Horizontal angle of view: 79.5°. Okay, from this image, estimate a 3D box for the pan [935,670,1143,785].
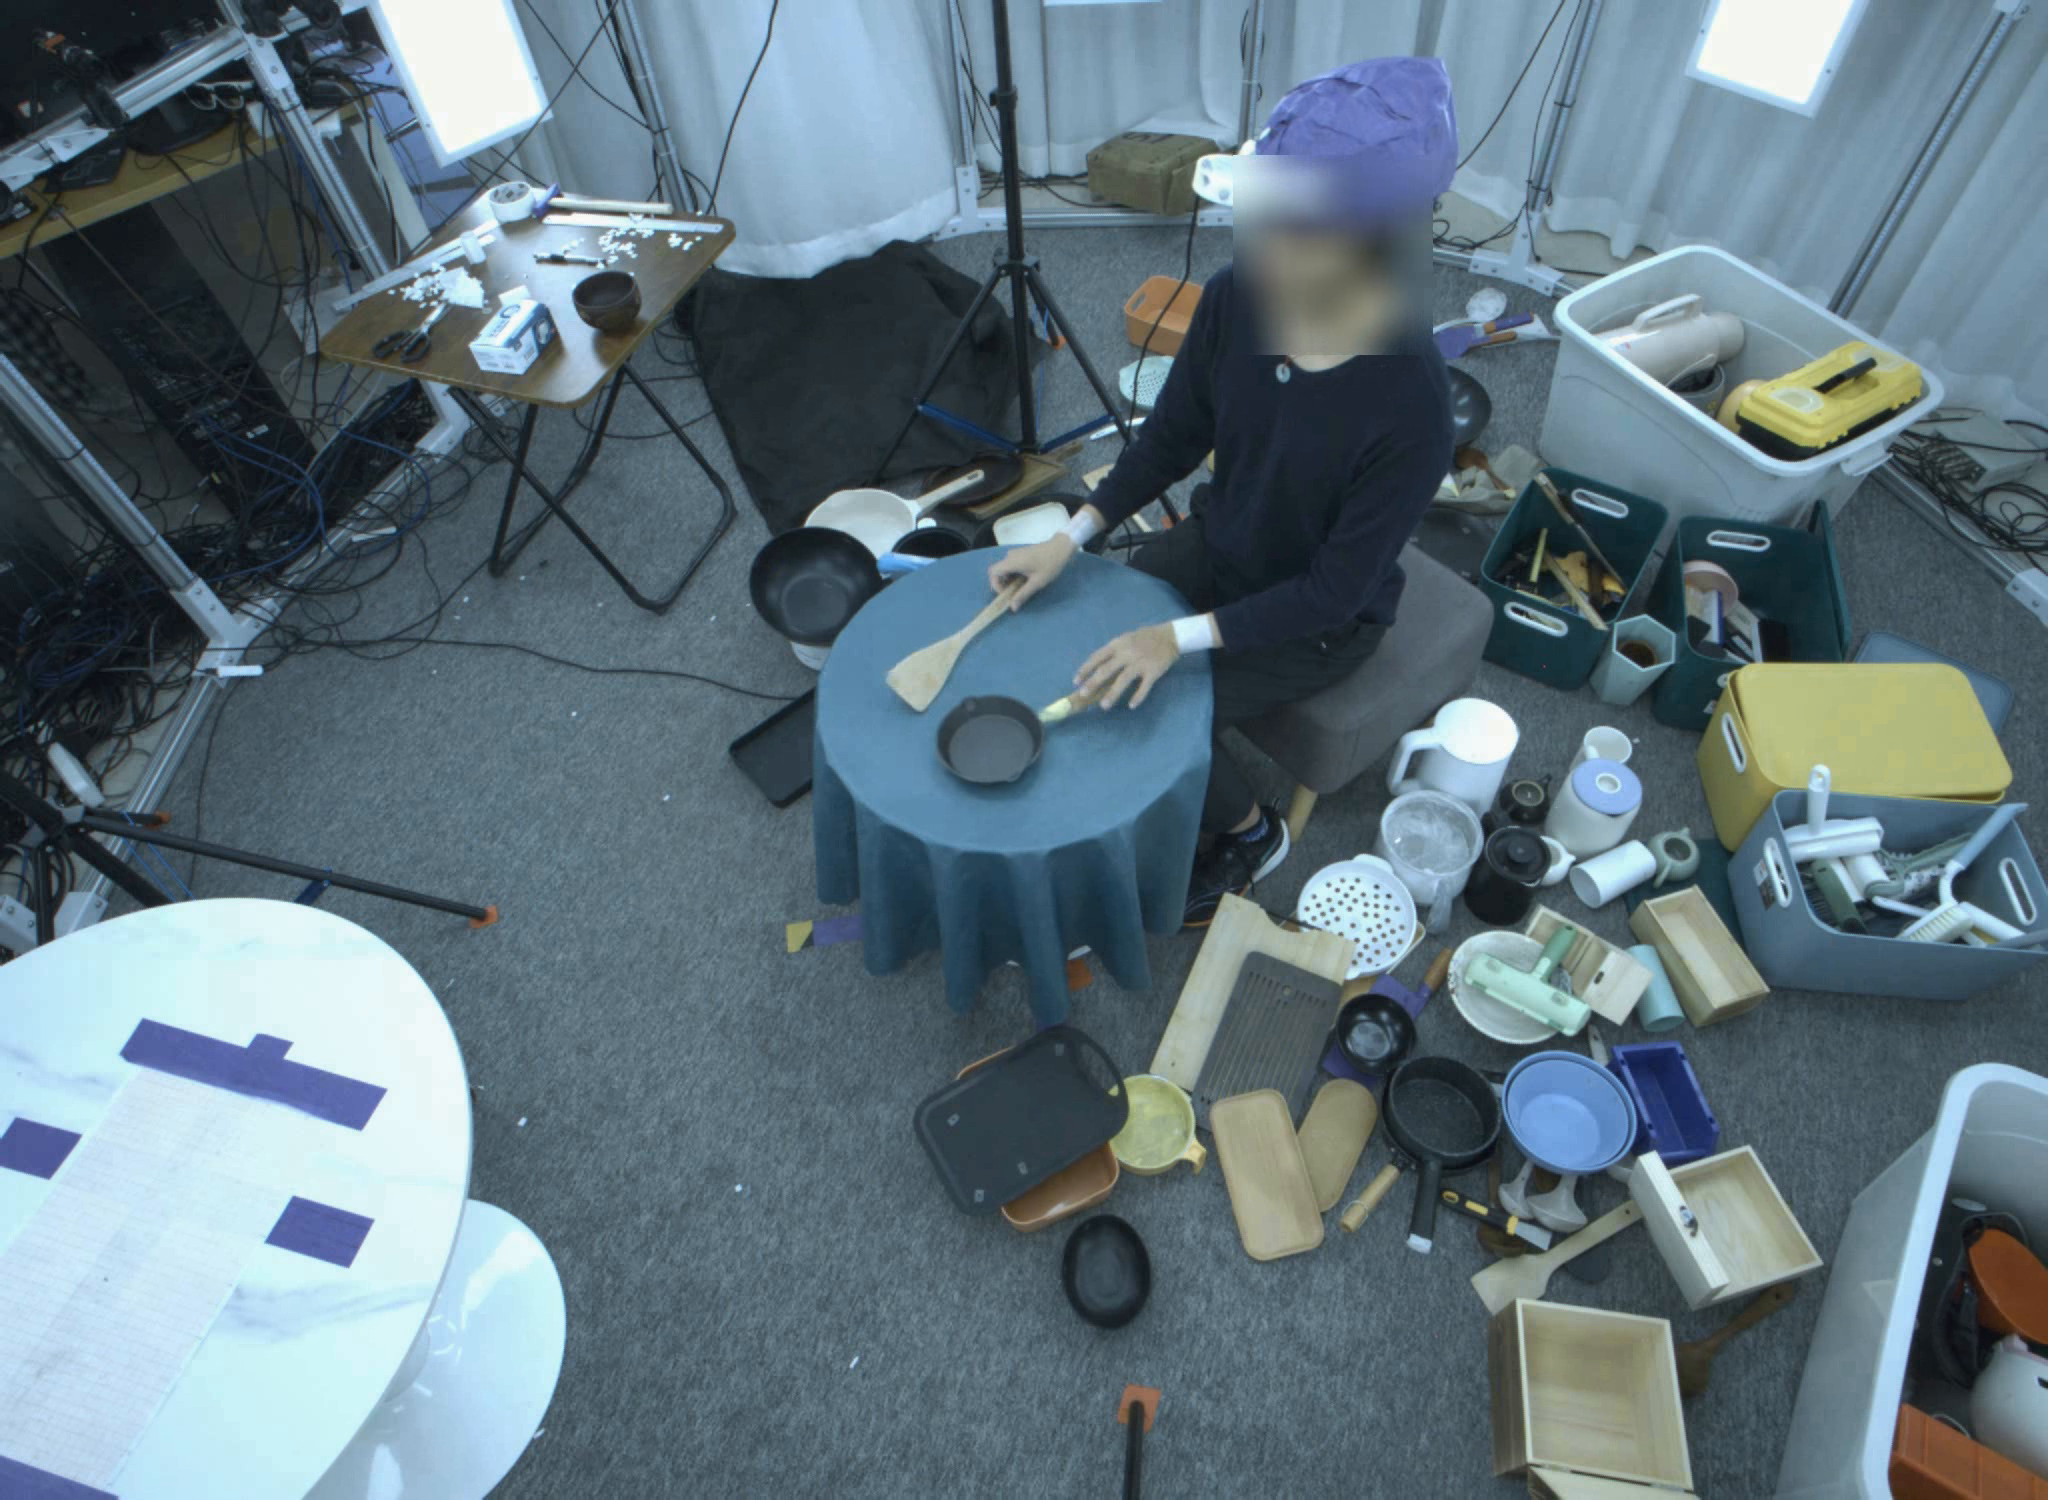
[{"bbox_3d":[0.028,-0.045,1.787,0.326,0.050,0.166,-22,57,-11],"label":"pan"}]

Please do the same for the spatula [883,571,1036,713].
[{"bbox_3d":[-0.087,-0.176,1.890,0.329,0.016,0.080,-45,102,-27],"label":"spatula"}]
